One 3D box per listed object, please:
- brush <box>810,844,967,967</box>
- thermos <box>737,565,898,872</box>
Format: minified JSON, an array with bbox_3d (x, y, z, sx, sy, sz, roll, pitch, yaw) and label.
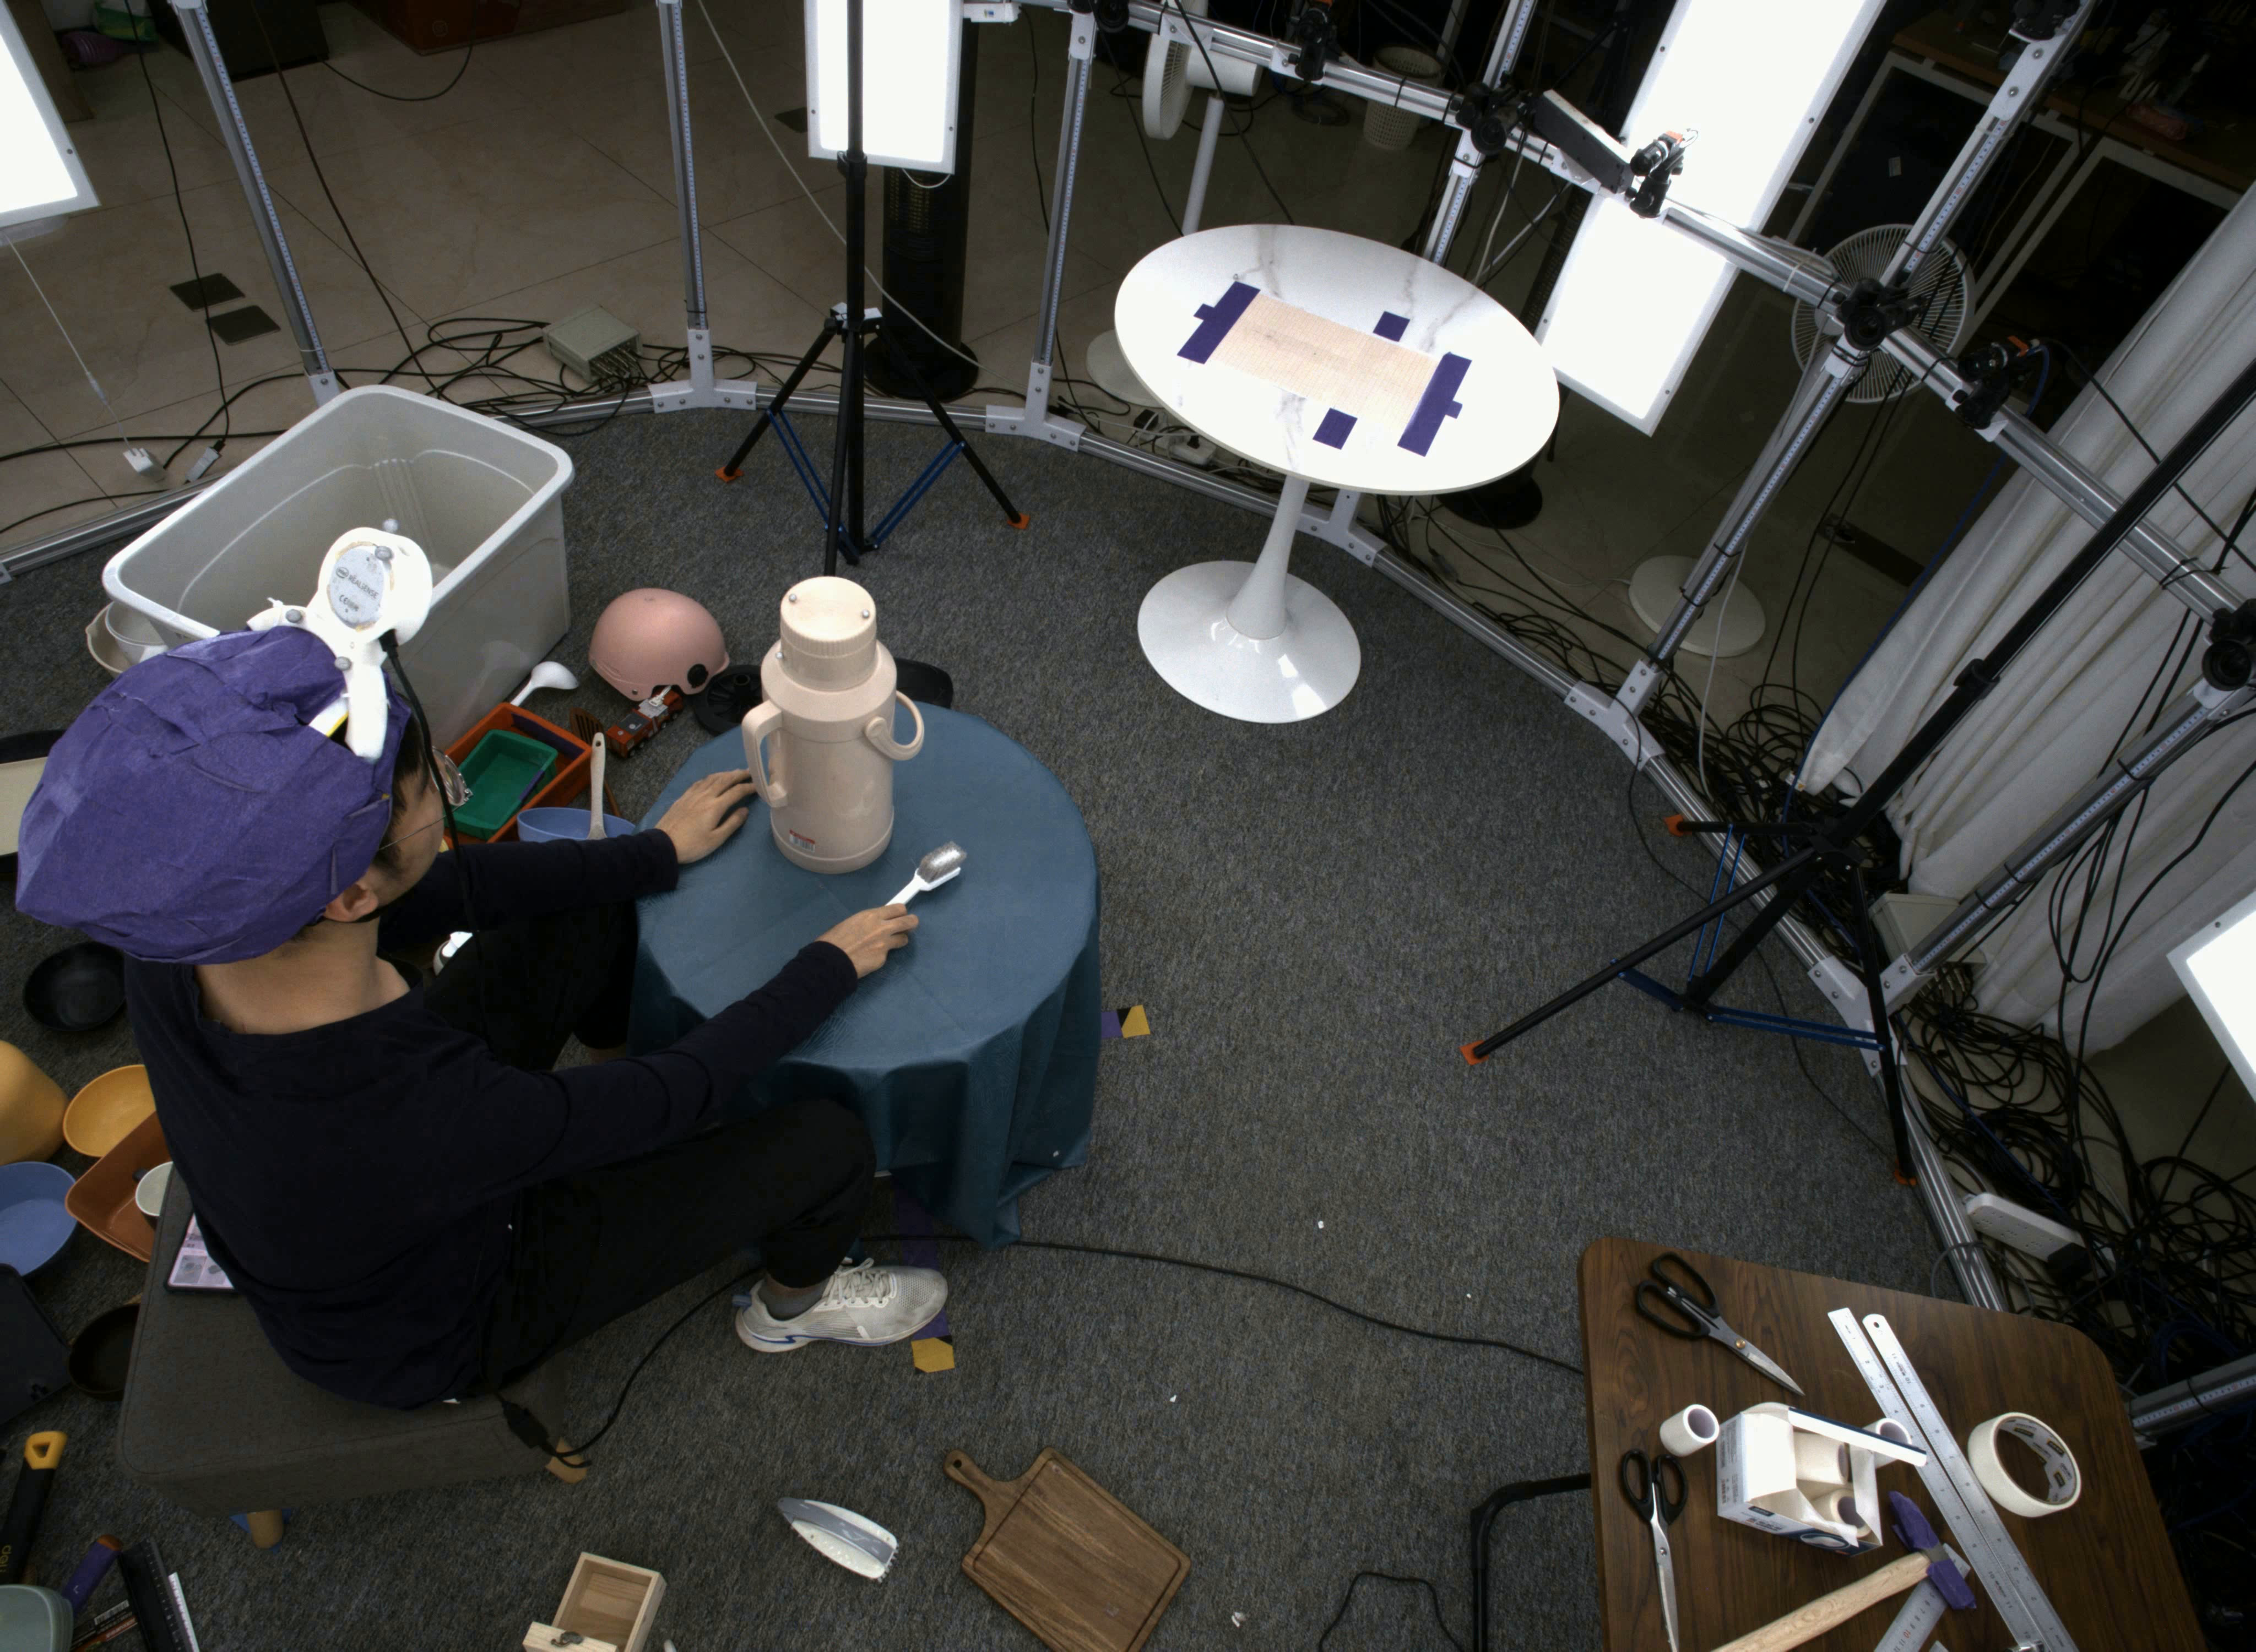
[{"bbox_3d":[-0.303,0.096,1.653,0.034,0.051,0.244,45,56,14],"label":"brush"},{"bbox_3d":[-0.377,-0.119,1.570,0.171,0.414,0.207,40,56,18],"label":"thermos"}]
